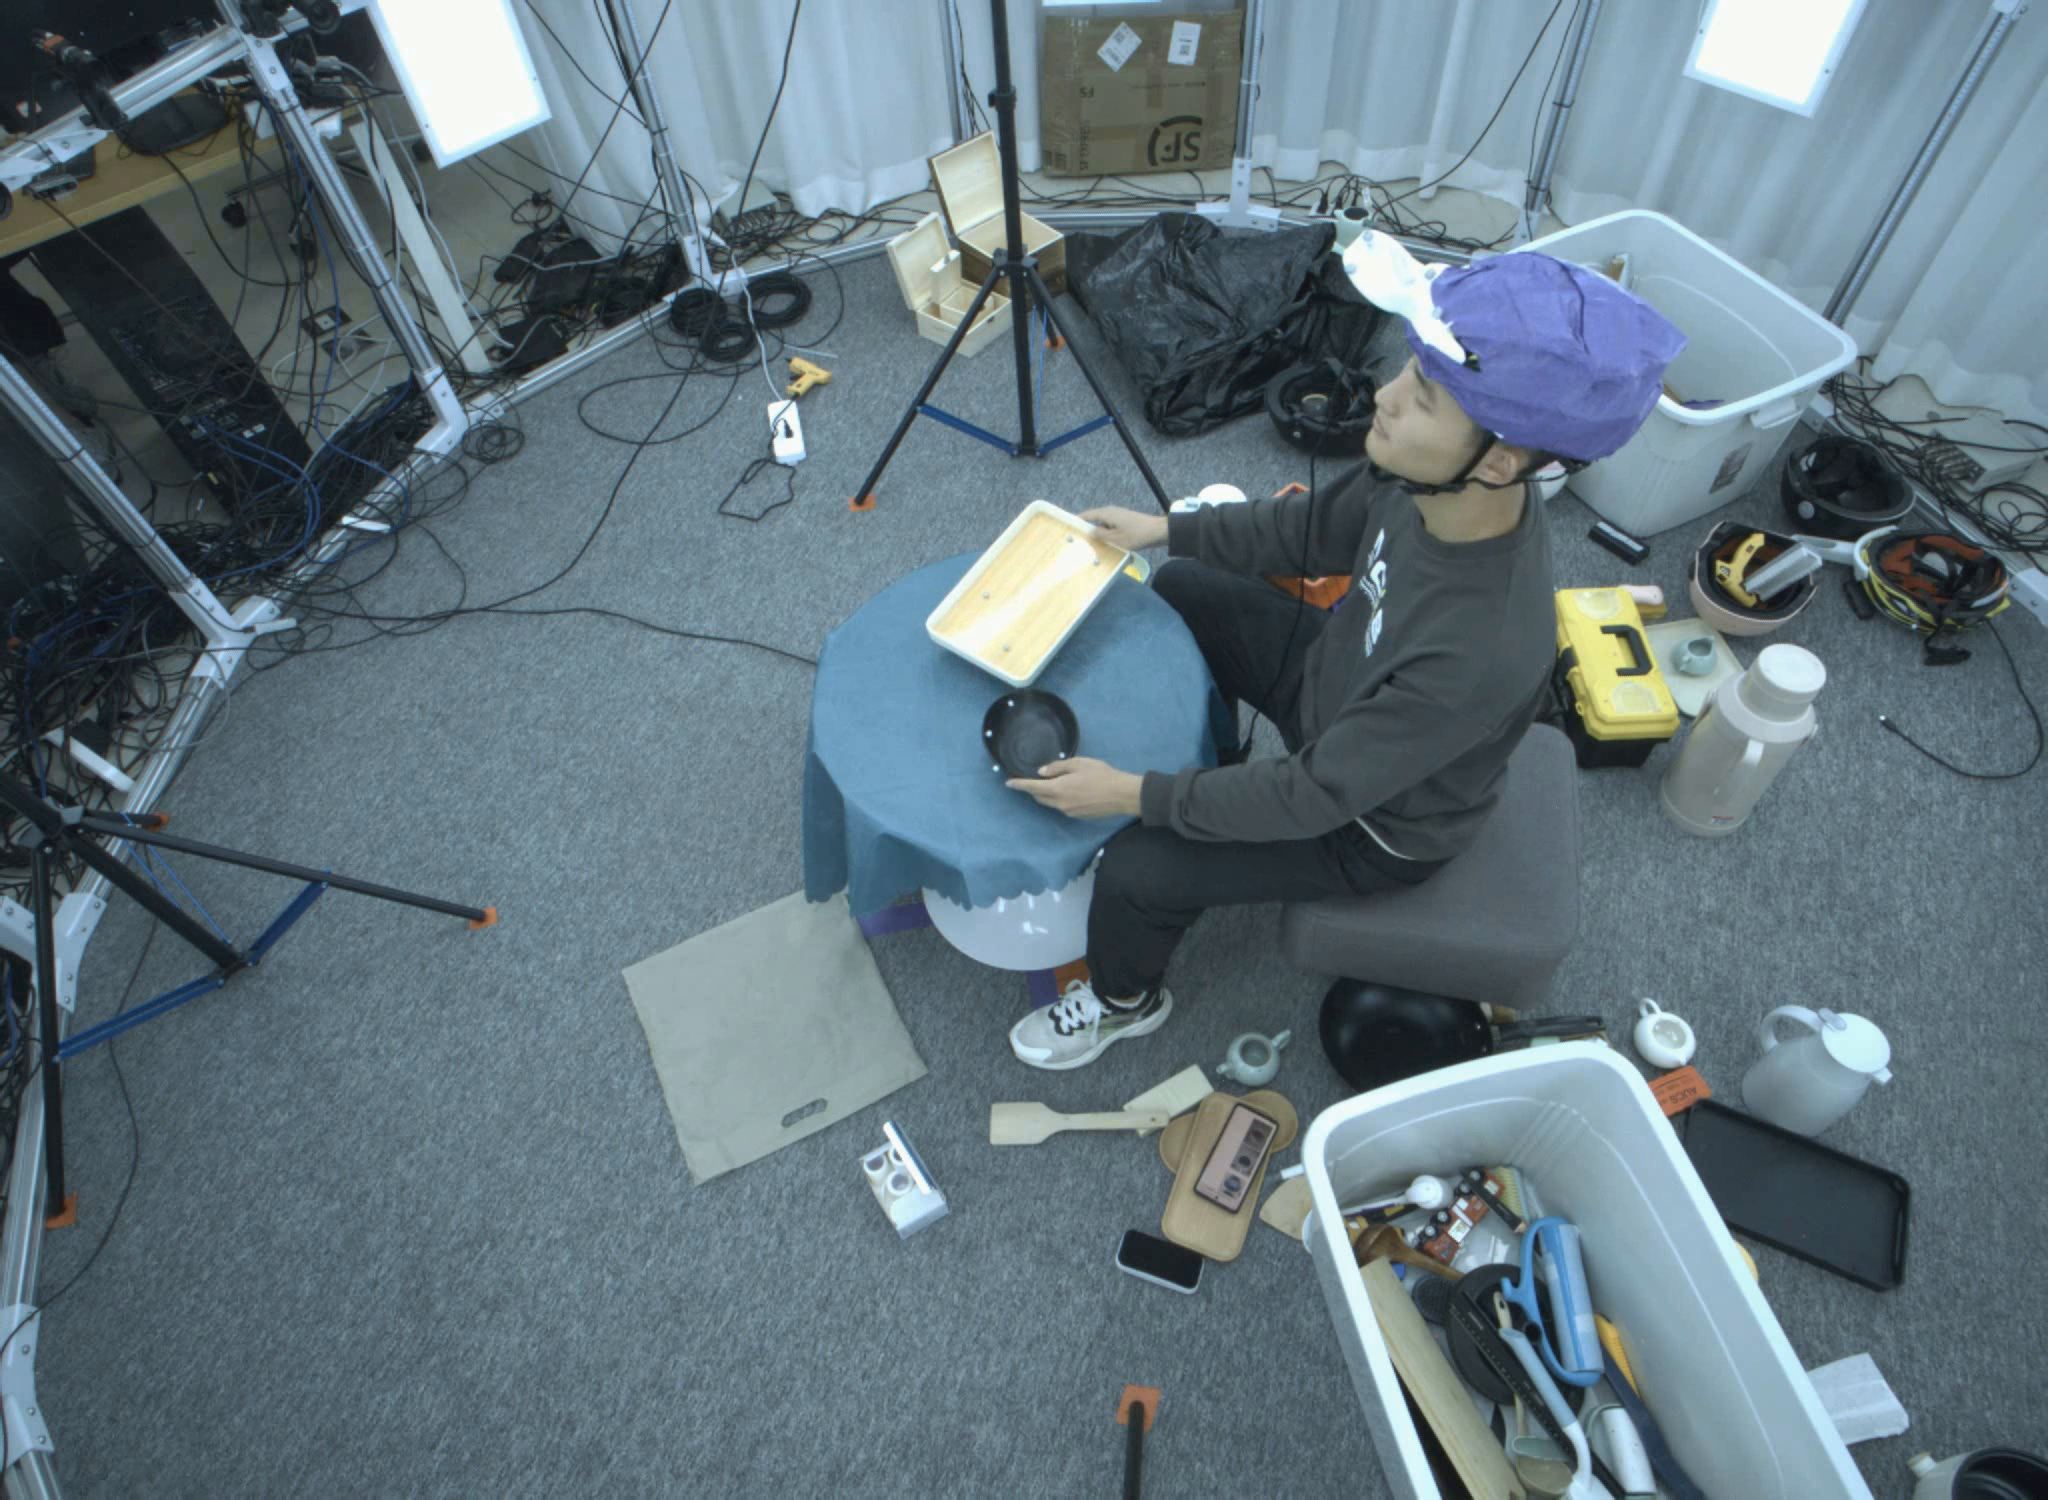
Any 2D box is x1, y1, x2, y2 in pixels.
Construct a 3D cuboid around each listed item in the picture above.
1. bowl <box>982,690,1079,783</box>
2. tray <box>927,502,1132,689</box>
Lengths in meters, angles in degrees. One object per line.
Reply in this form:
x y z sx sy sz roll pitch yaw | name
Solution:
0.009 -0.012 1.755 0.138 0.067 0.168 -7 52 -4 | bowl
0.011 -0.242 1.872 0.189 0.028 0.301 31 67 19 | tray
